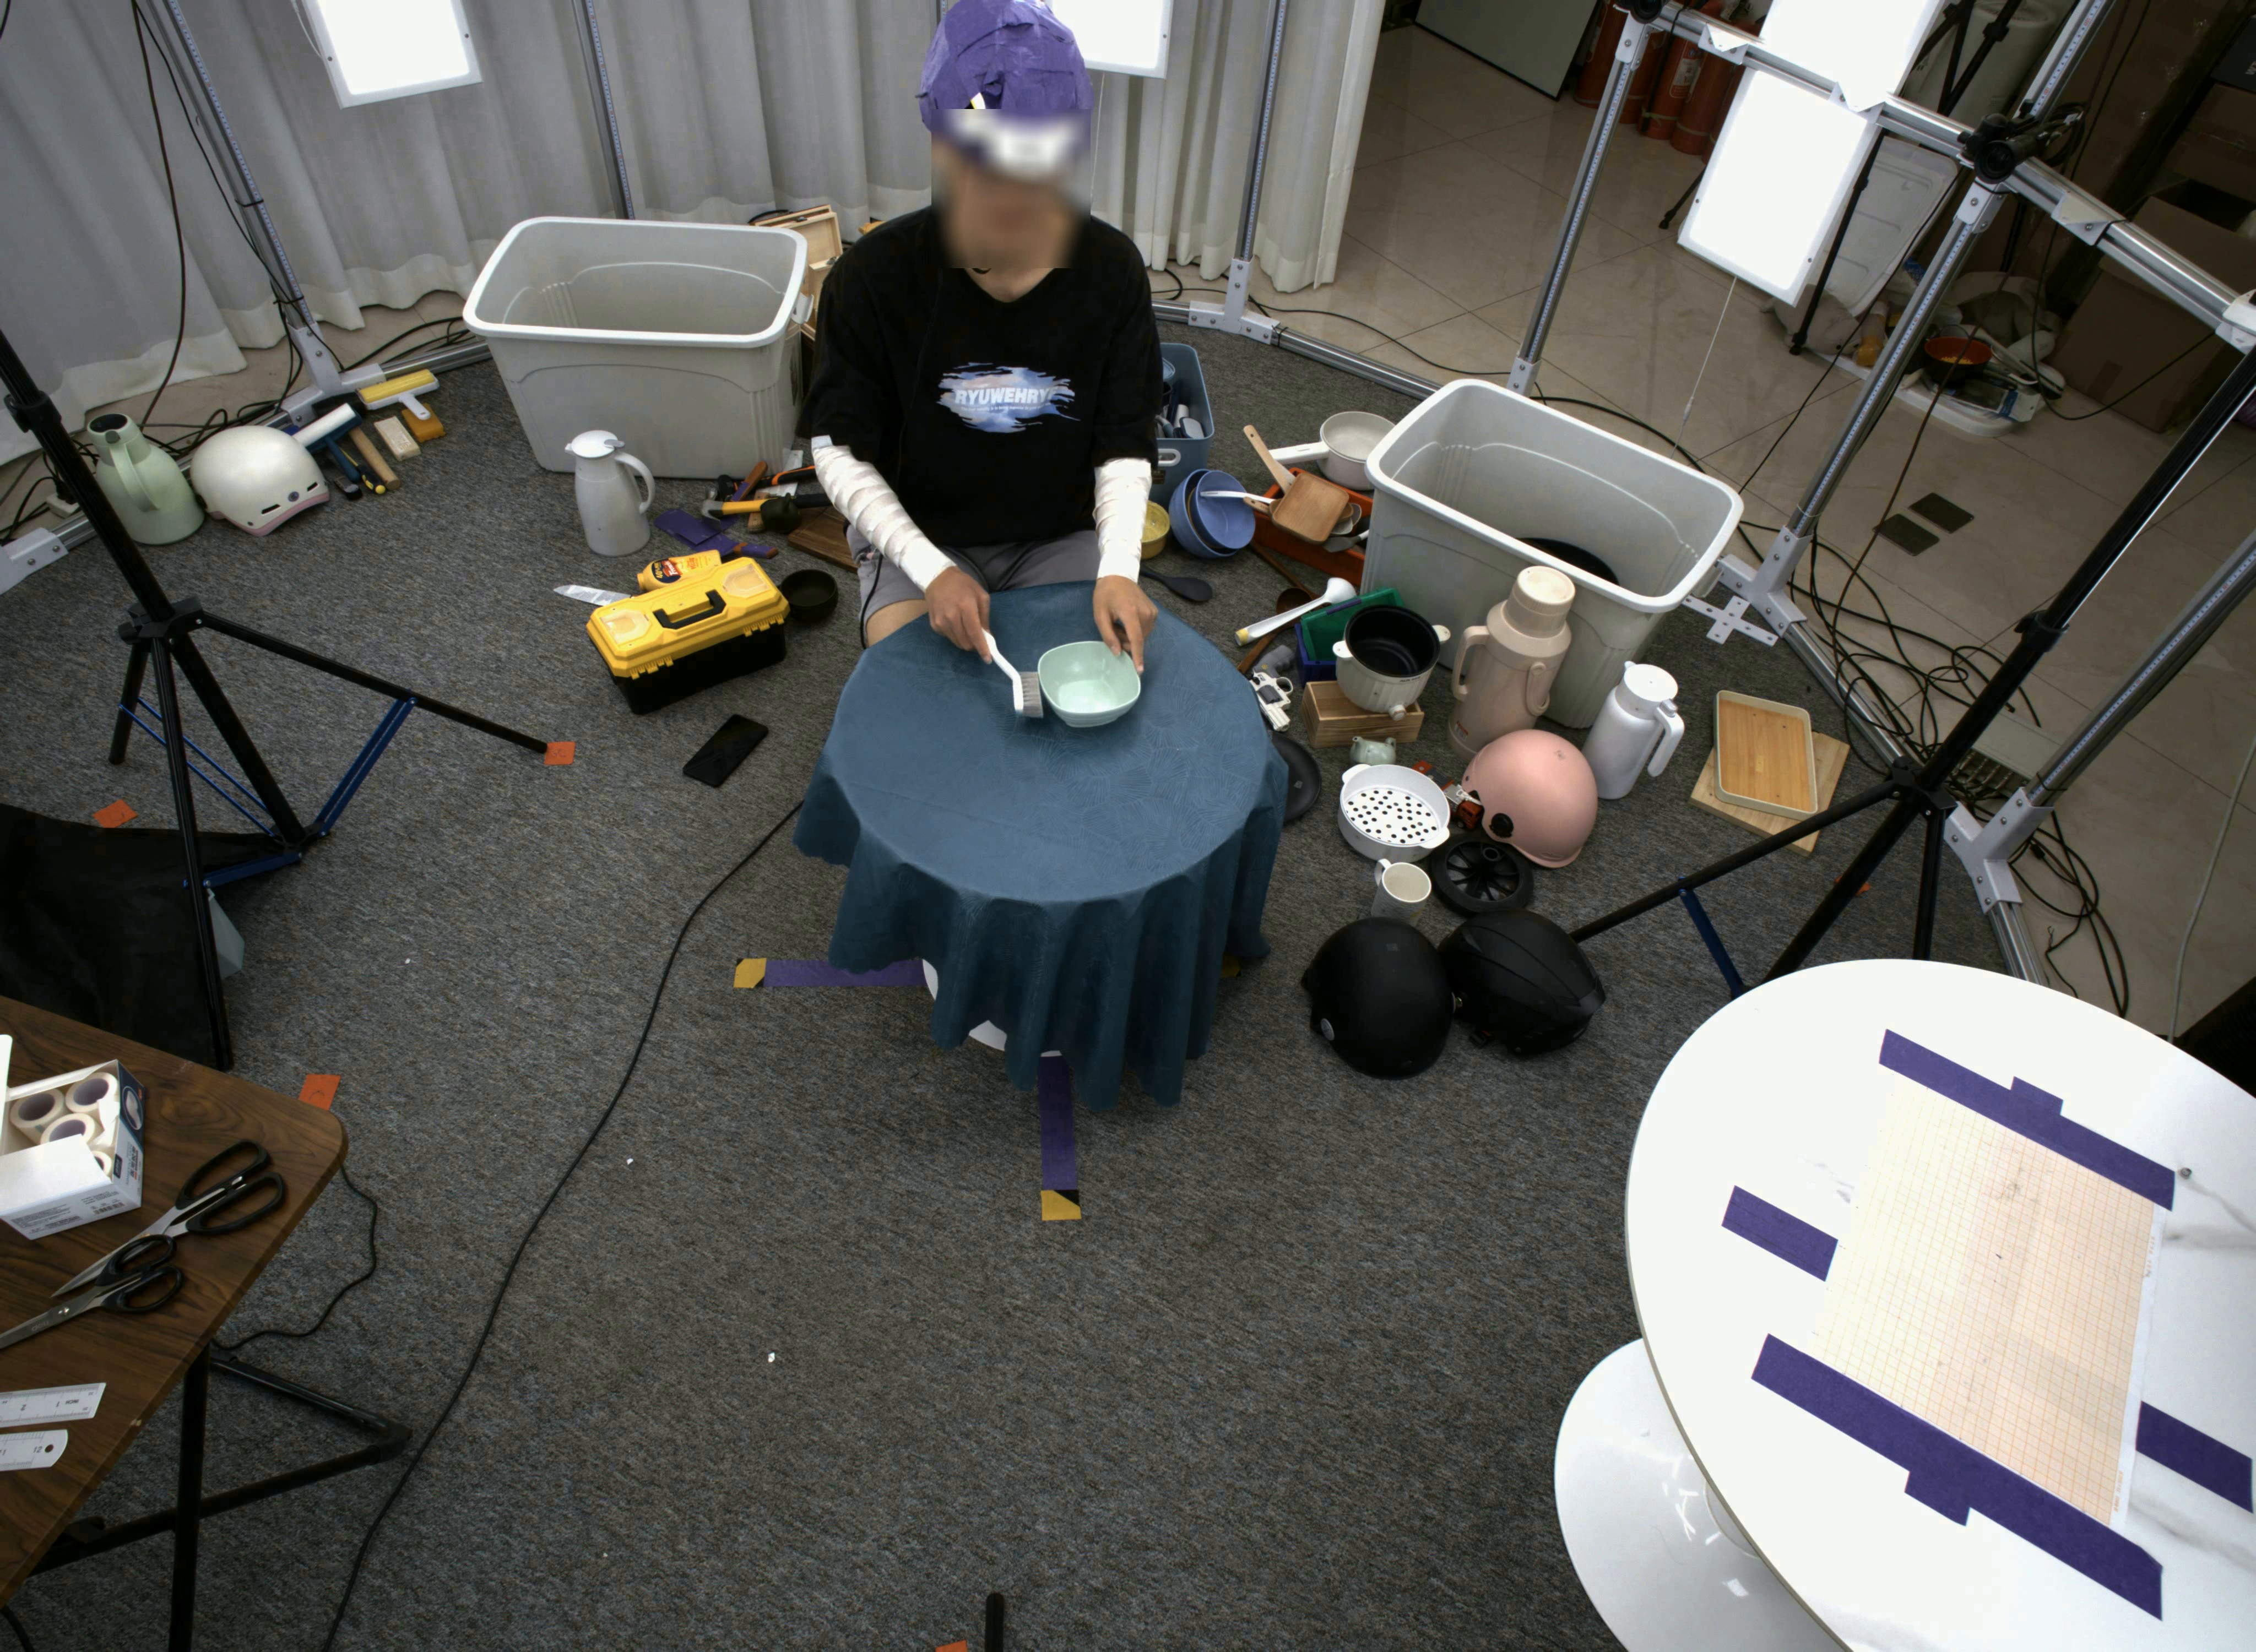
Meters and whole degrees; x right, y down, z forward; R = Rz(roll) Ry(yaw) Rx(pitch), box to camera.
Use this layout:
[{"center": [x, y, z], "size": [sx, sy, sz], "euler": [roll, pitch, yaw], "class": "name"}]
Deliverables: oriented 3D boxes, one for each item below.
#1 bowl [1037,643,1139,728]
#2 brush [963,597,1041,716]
[{"center": [-0.057, -0.189, 1.800], "size": [0.151, 0.057, 0.155], "euler": [2, 48, -2], "class": "bowl"}, {"center": [-0.174, -0.246, 1.813], "size": [0.050, 0.033, 0.249], "euler": [-19, 54, -12], "class": "brush"}]
